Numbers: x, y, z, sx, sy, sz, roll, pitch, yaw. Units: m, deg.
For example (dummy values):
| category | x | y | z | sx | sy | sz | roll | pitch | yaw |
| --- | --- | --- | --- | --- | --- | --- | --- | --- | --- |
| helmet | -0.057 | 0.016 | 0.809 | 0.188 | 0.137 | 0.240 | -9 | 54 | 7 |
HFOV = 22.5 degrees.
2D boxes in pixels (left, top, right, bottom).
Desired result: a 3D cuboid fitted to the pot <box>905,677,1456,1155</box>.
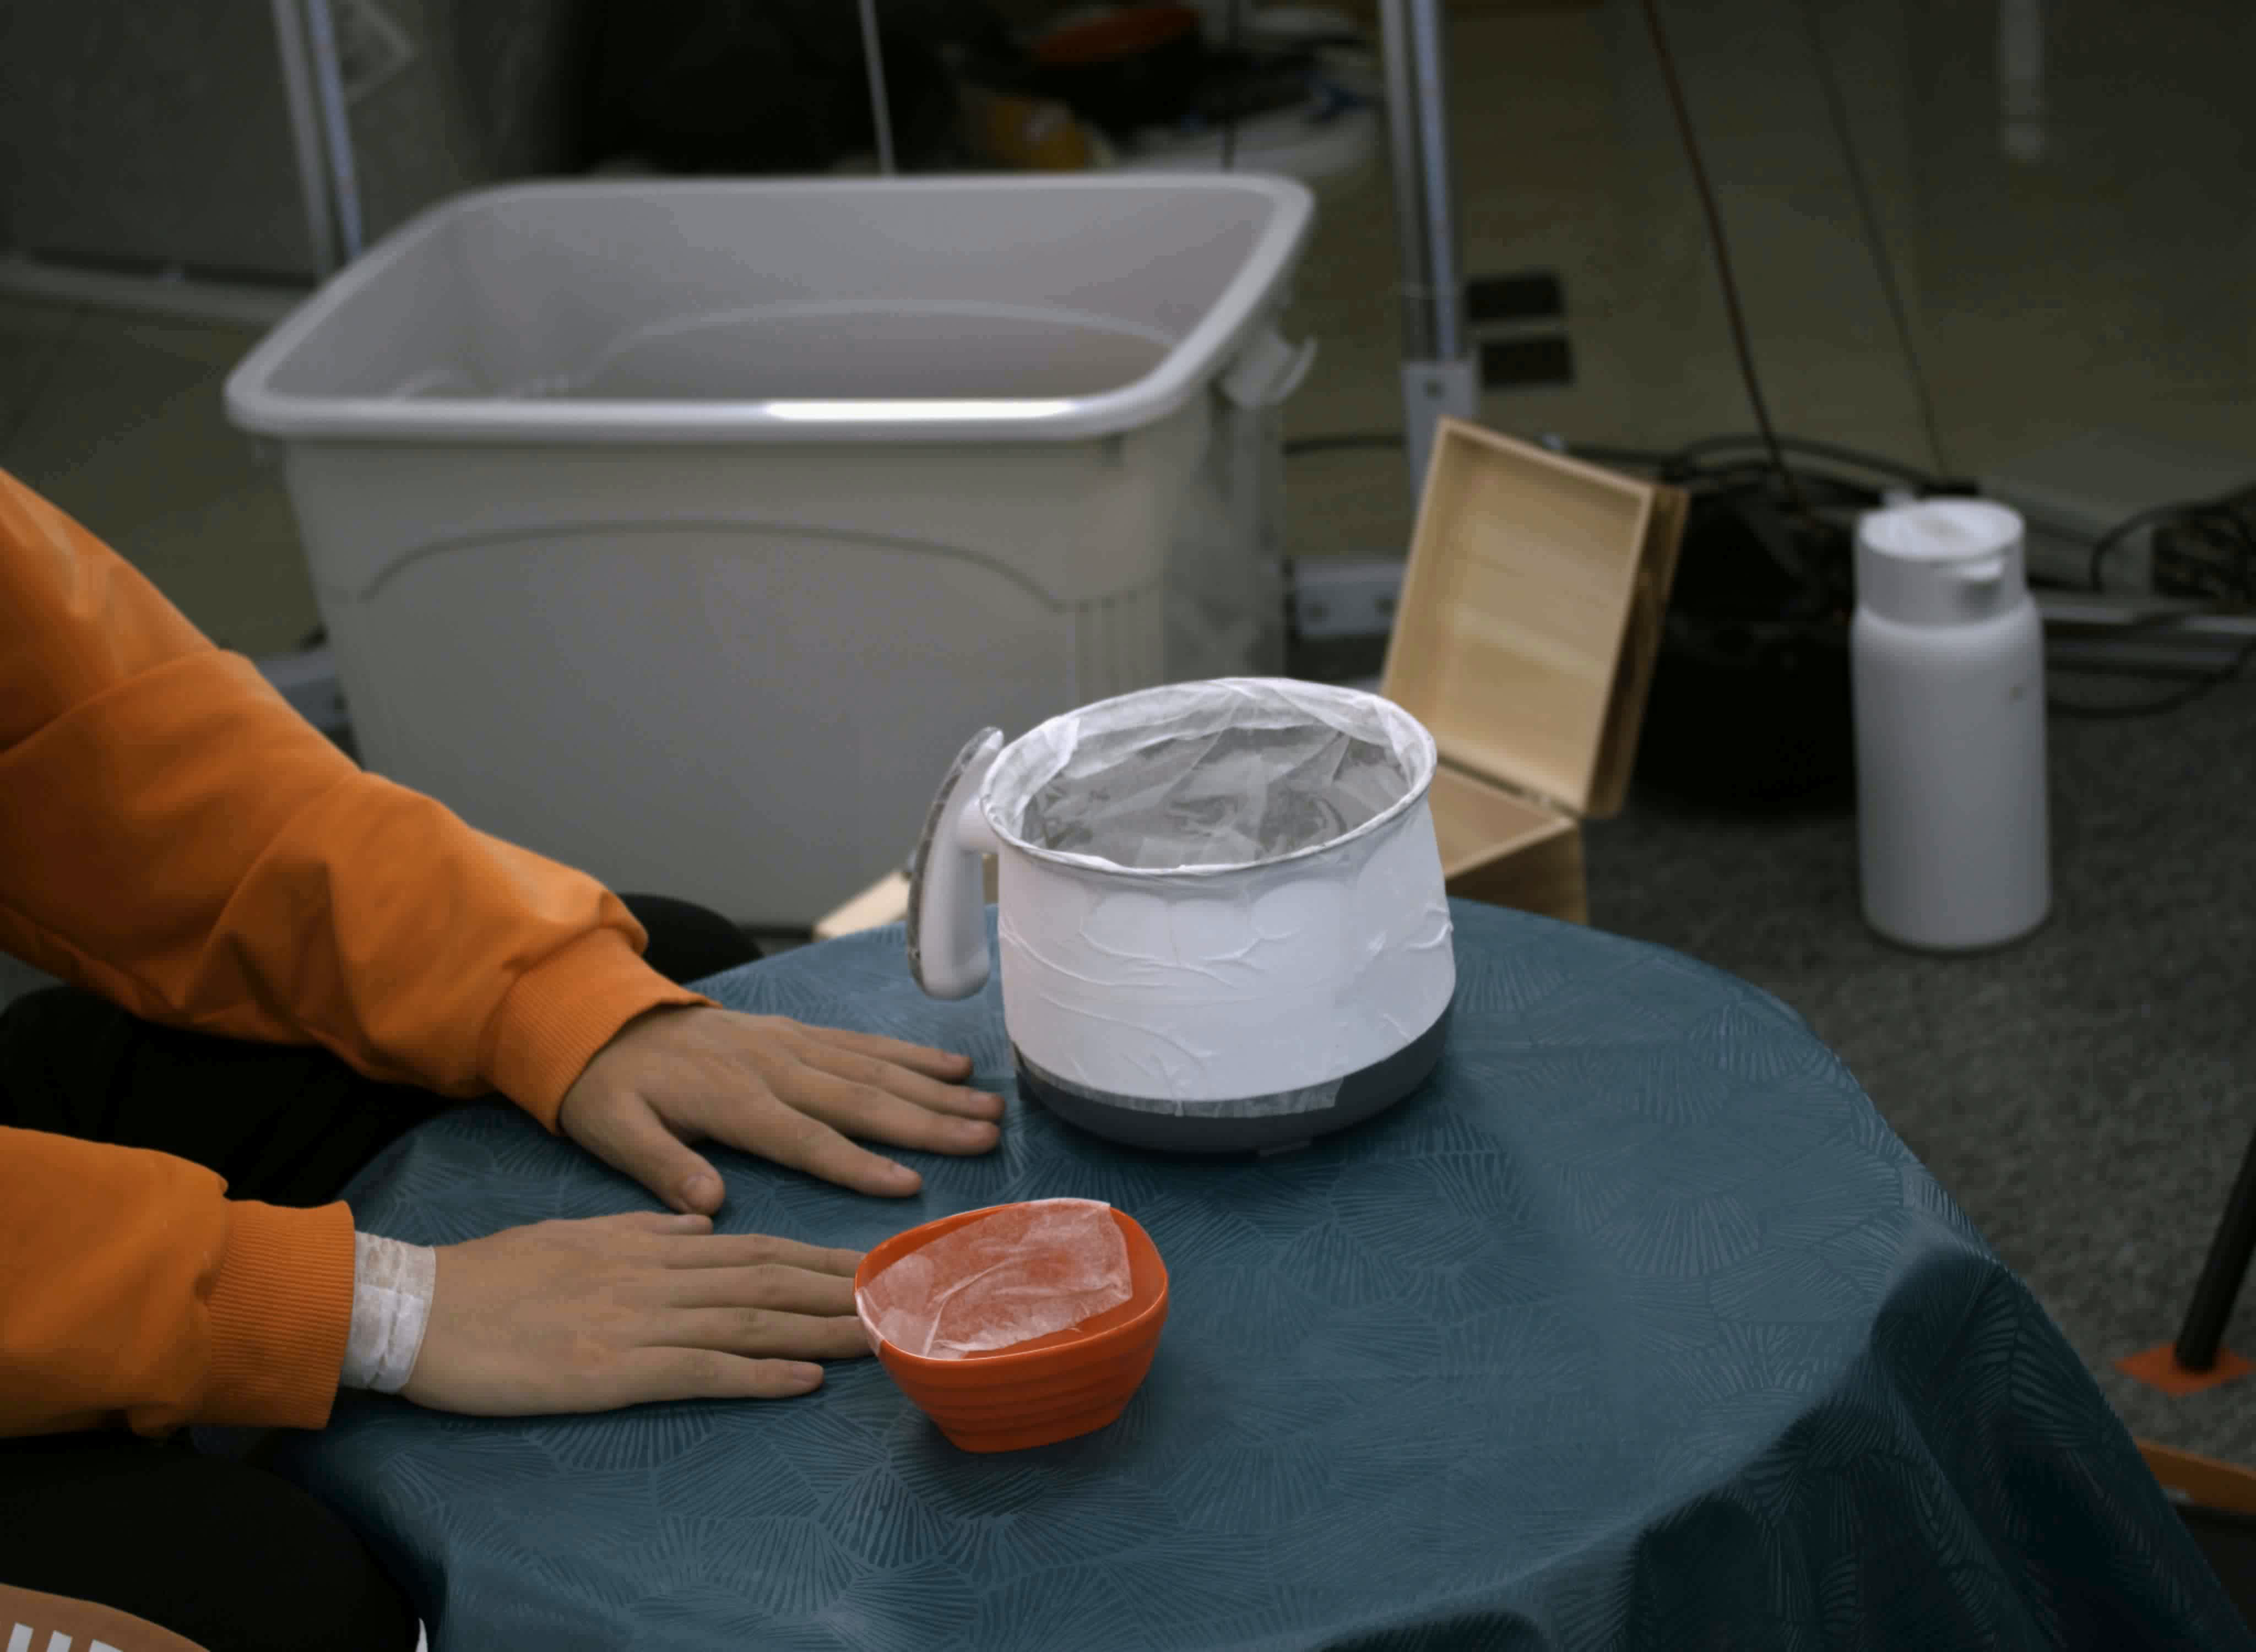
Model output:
| category | x | y | z | sx | sy | sz | roll | pitch | yaw |
| --- | --- | --- | --- | --- | --- | --- | --- | --- | --- |
| pot | 0.013 | 0.033 | 2.206 | 0.232 | 0.139 | 0.176 | 9 | 29 | 28 |

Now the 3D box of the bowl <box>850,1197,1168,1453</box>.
| category | x | y | z | sx | sy | sz | roll | pitch | yaw |
| --- | --- | --- | --- | --- | --- | --- | --- | --- | --- |
| bowl | -0.040 | 0.181 | 2.006 | 0.119 | 0.052 | 0.117 | -4 | 26 | 2 |
